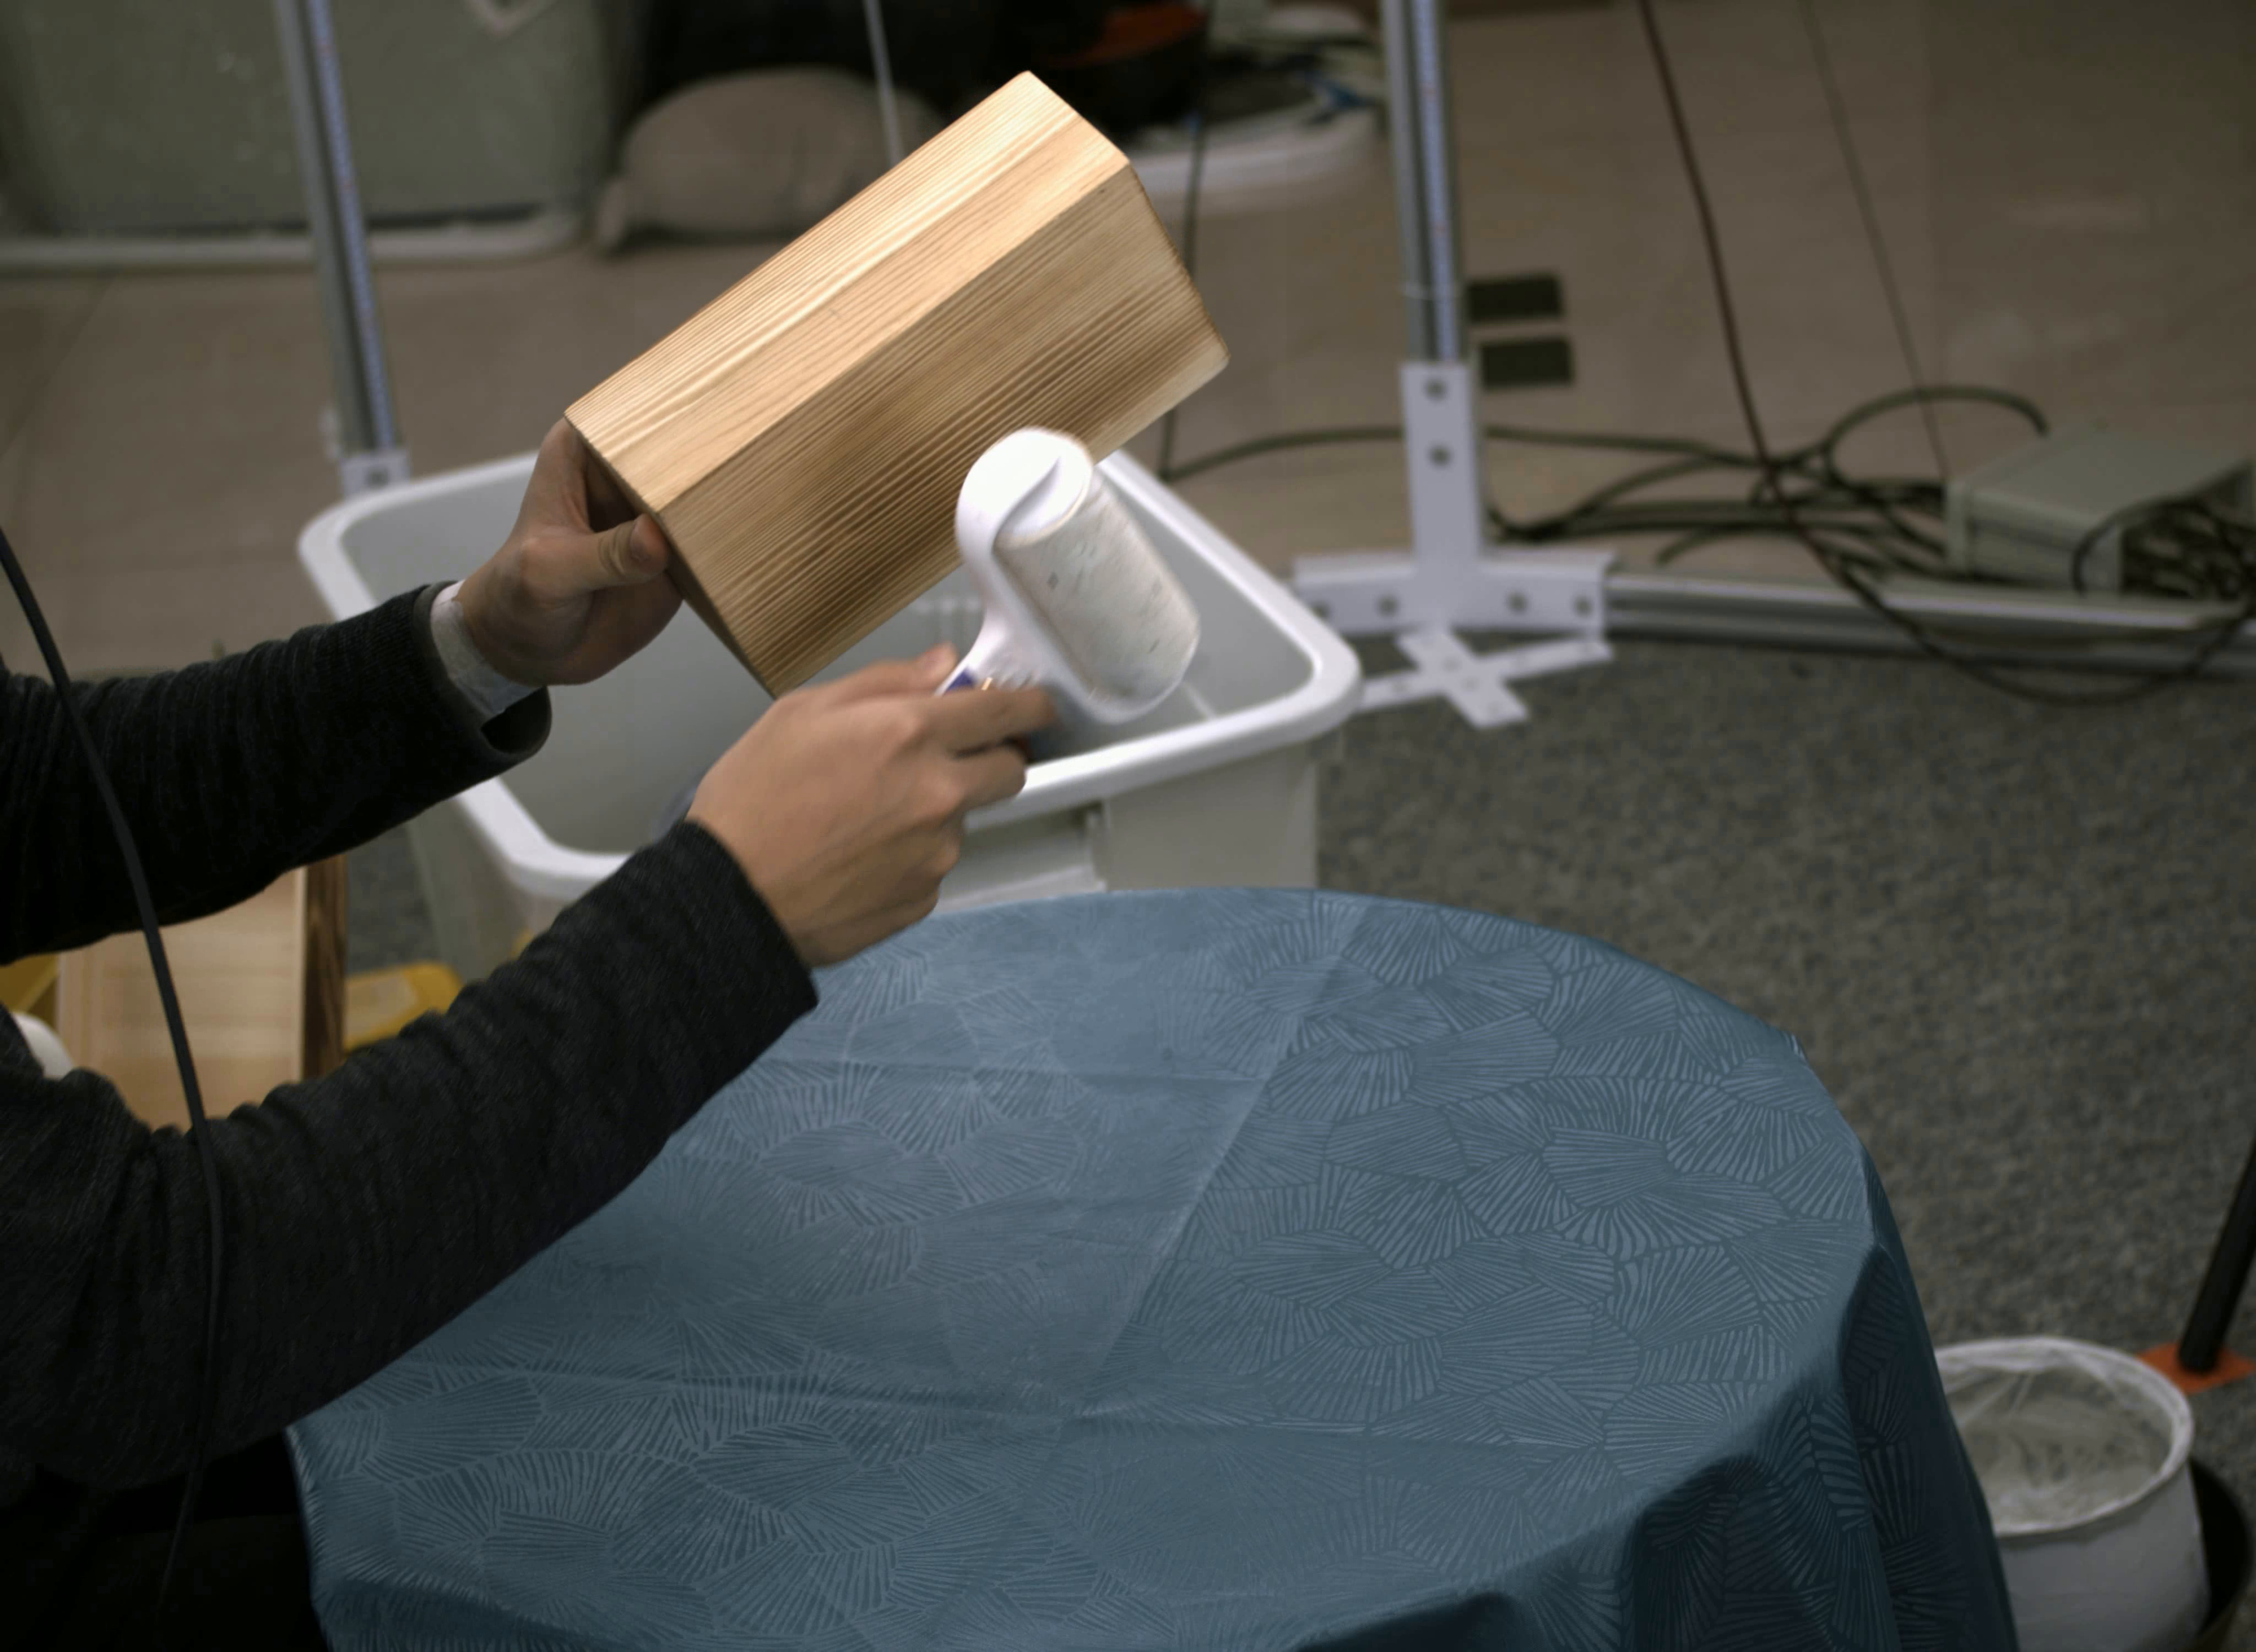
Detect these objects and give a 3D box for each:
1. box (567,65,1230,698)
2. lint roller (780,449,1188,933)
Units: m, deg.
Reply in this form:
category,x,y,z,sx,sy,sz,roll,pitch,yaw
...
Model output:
category,x,y,z,sx,sy,sz,roll,pitch,yaw
box,-0.081,-0.161,2.043,0.211,0.109,0.079,-37,45,-7
lint roller,-0.055,-0.033,1.955,0.050,0.135,0.179,23,69,35
